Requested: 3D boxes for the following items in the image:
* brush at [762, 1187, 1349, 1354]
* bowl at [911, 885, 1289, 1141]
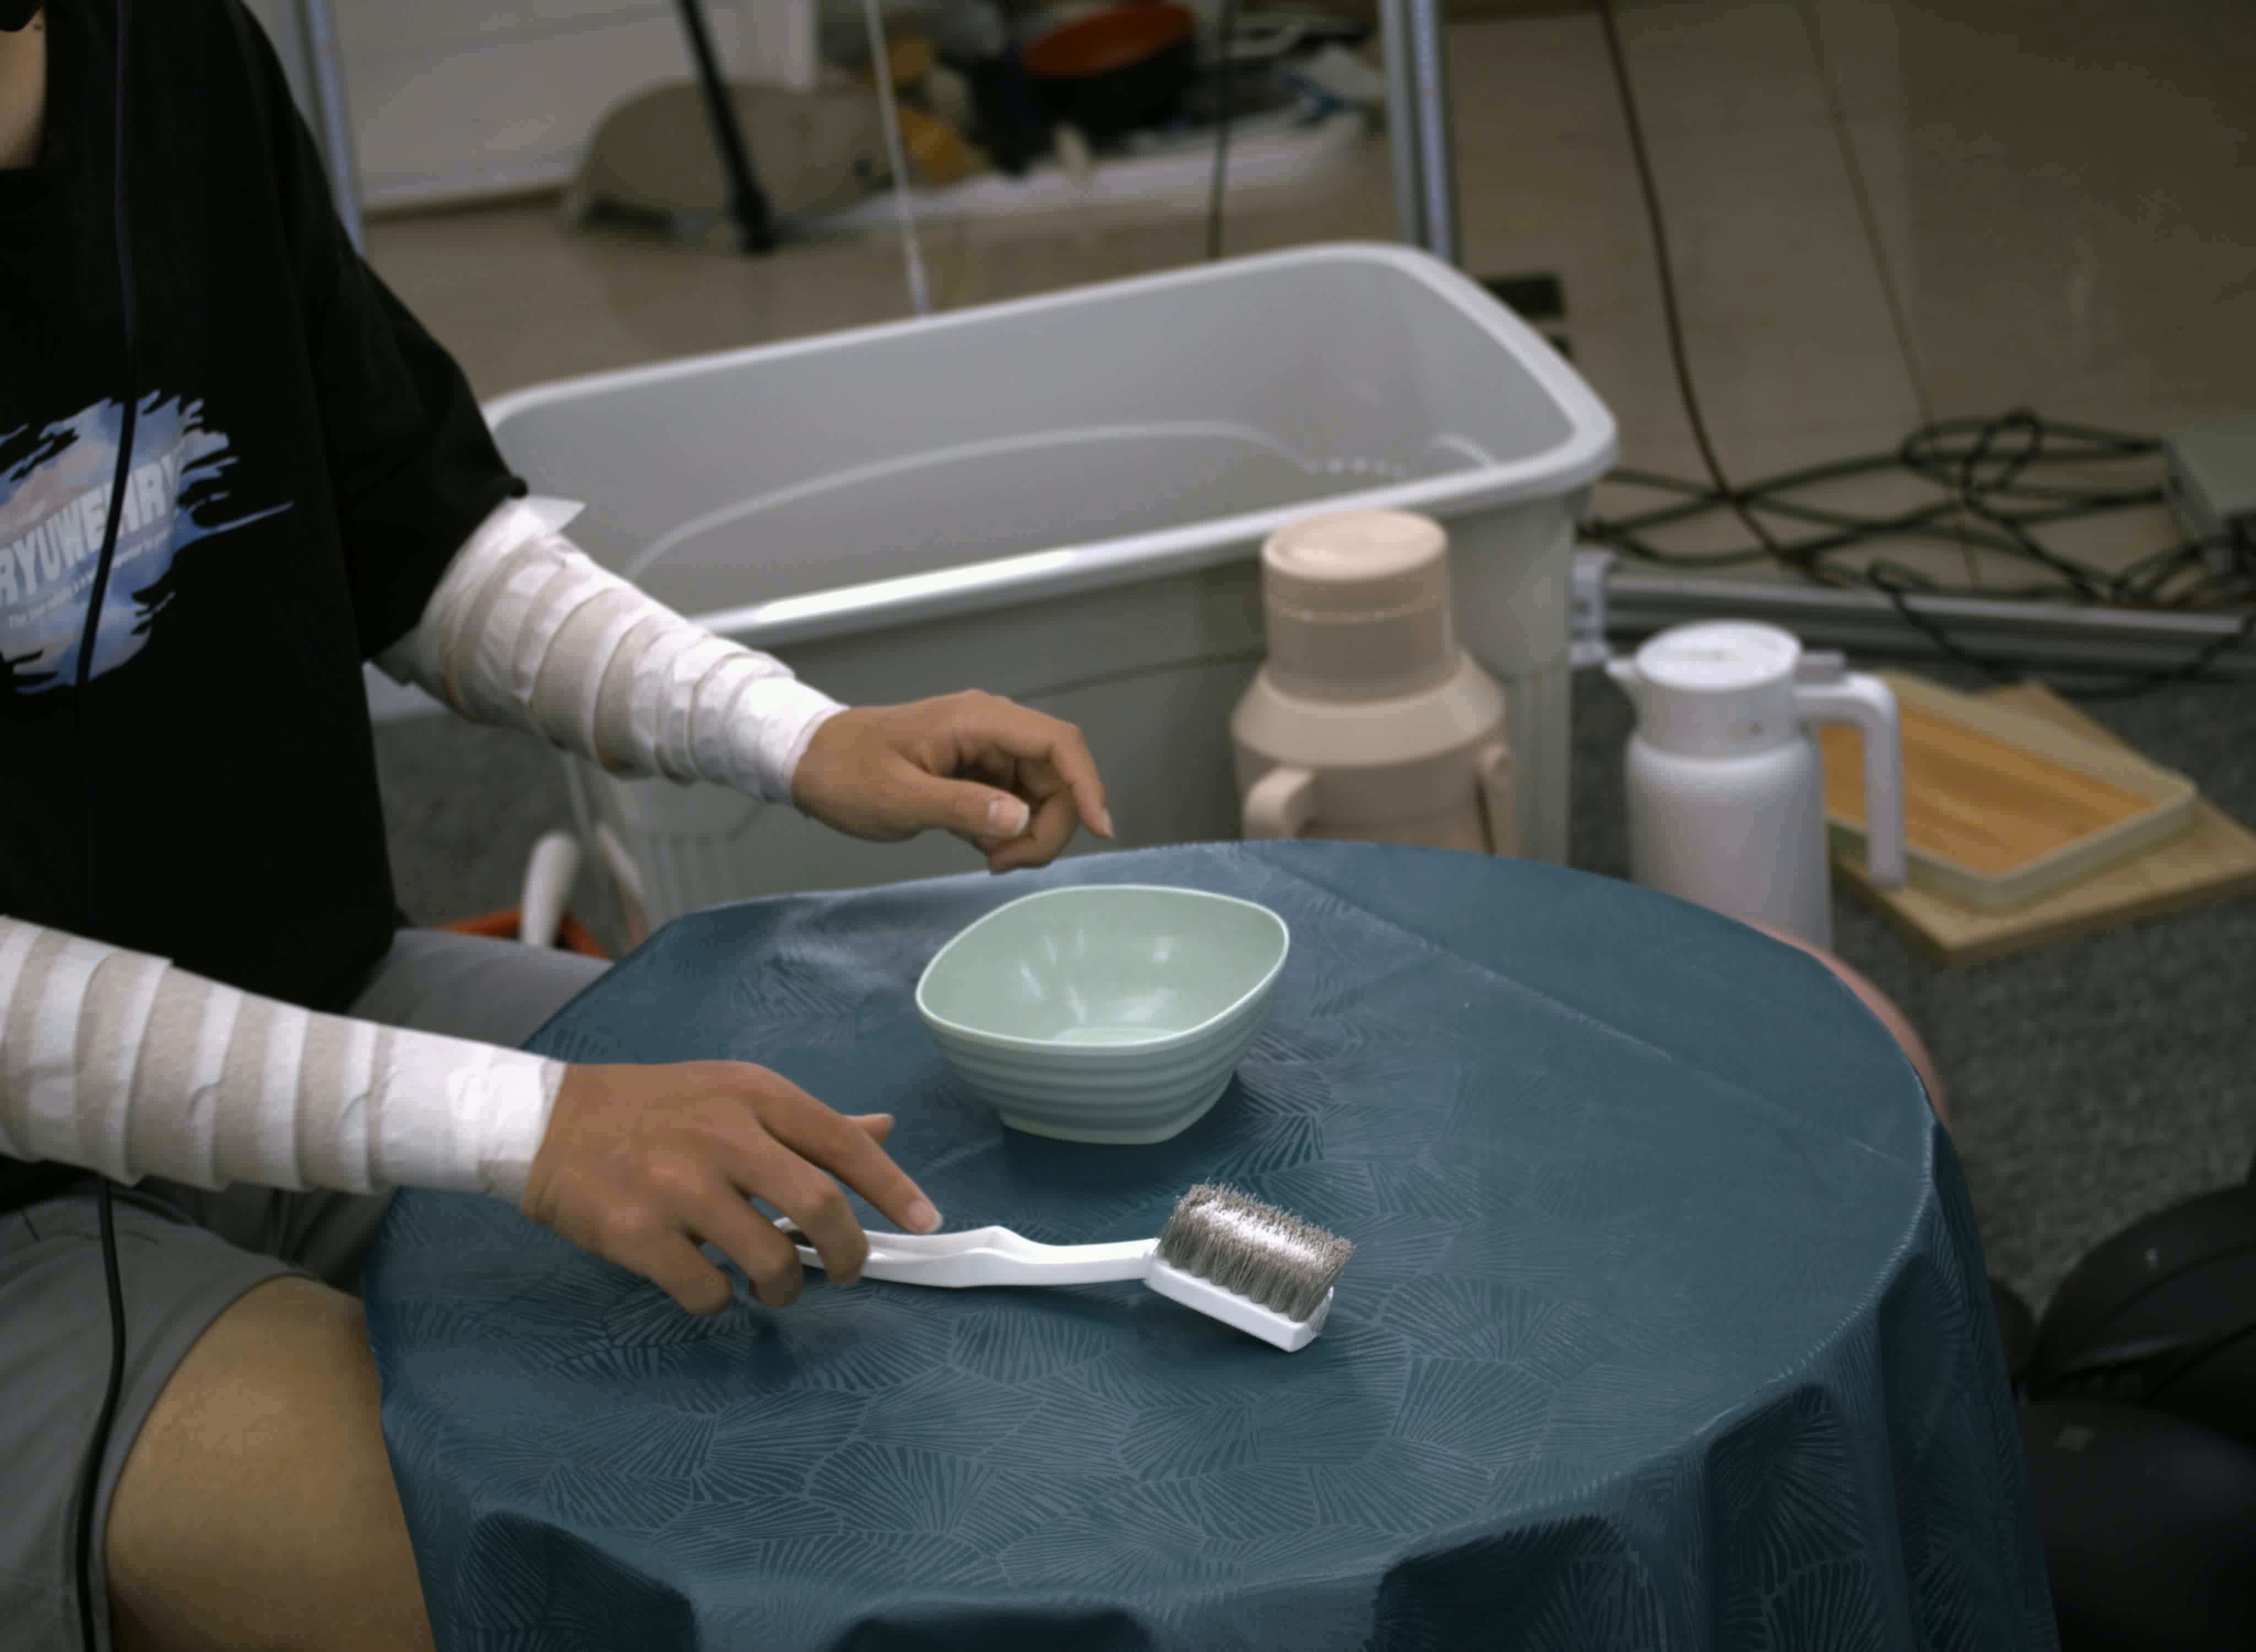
[{"bbox_3d":[-0.031,0.147,2.075,0.242,0.051,0.034,9,29,28],"label":"brush"},{"bbox_3d":[-0.009,0.077,2.209,0.151,0.059,0.149,-3,23,1],"label":"bowl"}]
